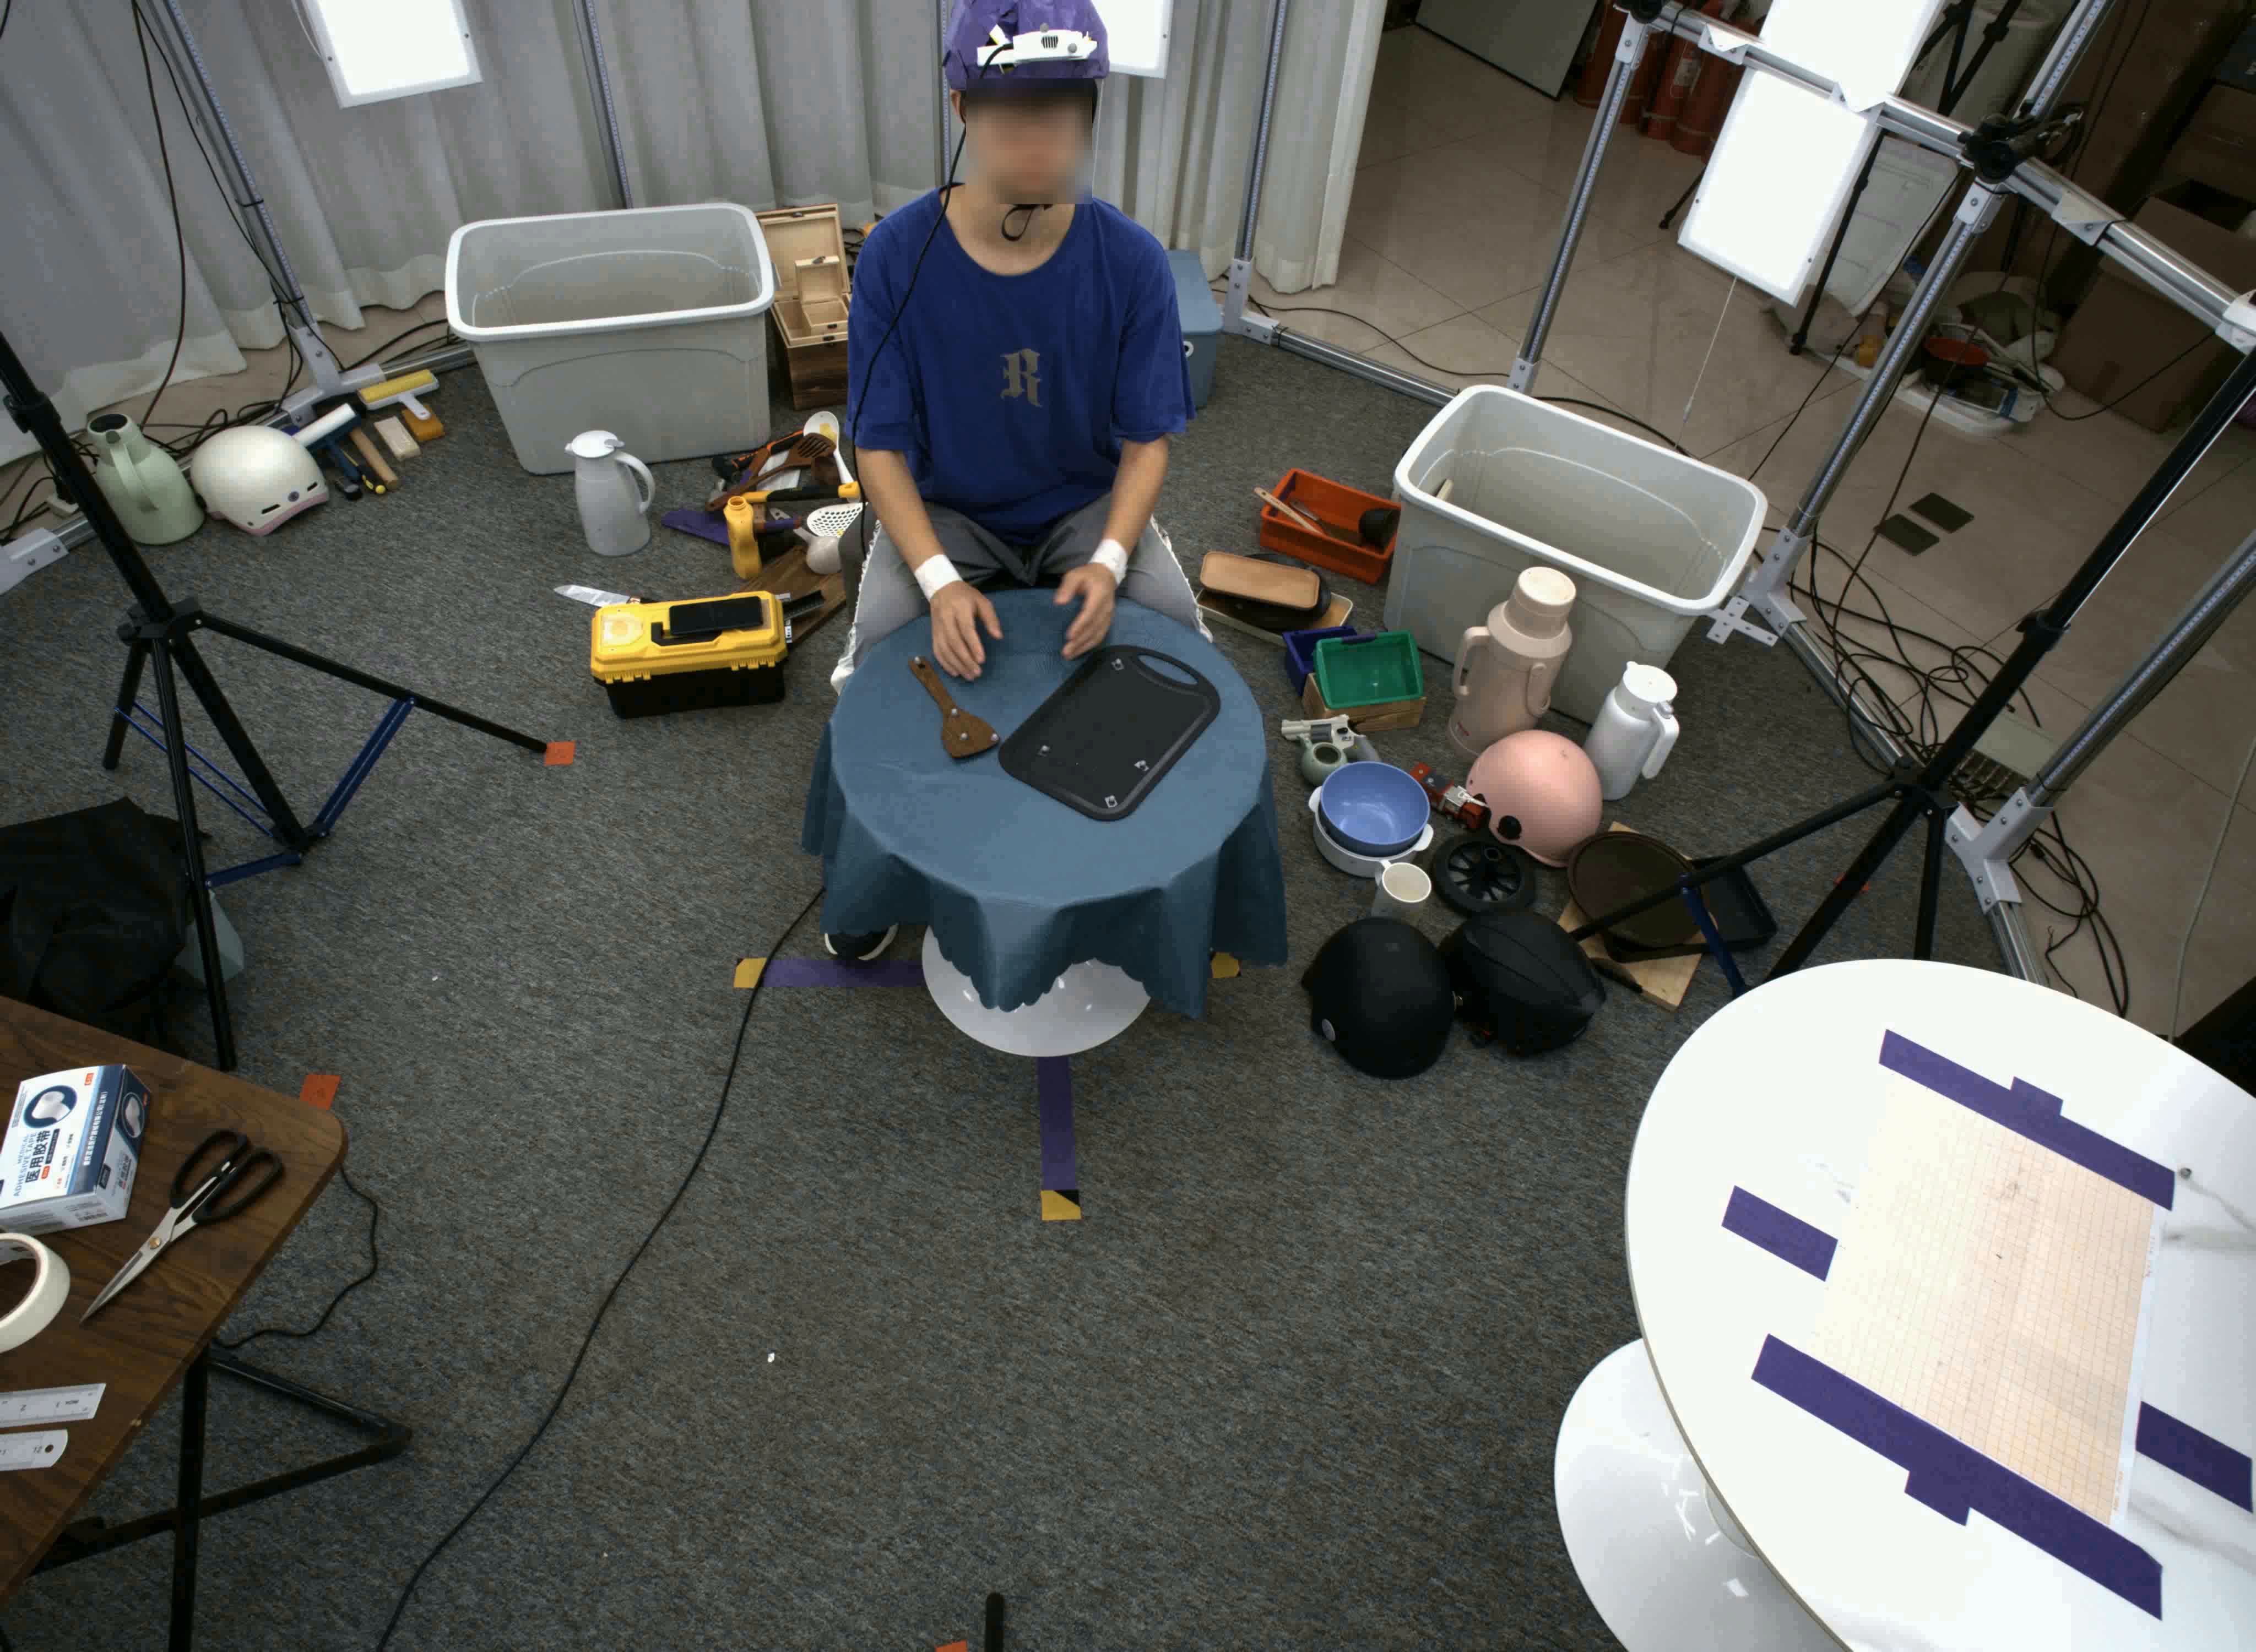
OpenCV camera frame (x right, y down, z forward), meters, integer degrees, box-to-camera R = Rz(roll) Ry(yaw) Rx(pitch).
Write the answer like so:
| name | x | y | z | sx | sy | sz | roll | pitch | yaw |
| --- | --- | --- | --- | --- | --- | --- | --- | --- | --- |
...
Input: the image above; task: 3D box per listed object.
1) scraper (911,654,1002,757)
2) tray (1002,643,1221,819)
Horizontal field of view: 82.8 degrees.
| name | x | y | z | sx | sy | sz | roll | pitch | yaw |
| --- | --- | --- | --- | --- | --- | --- | --- | --- | --- |
| scraper | -0.251 | -0.172 | 1.800 | 0.076 | 0.010 | 0.216 | -21 | 53 | -21 |
| tray | -0.015 | -0.147 | 1.794 | 0.213 | 0.009 | 0.330 | 28 | 54 | 19 |
